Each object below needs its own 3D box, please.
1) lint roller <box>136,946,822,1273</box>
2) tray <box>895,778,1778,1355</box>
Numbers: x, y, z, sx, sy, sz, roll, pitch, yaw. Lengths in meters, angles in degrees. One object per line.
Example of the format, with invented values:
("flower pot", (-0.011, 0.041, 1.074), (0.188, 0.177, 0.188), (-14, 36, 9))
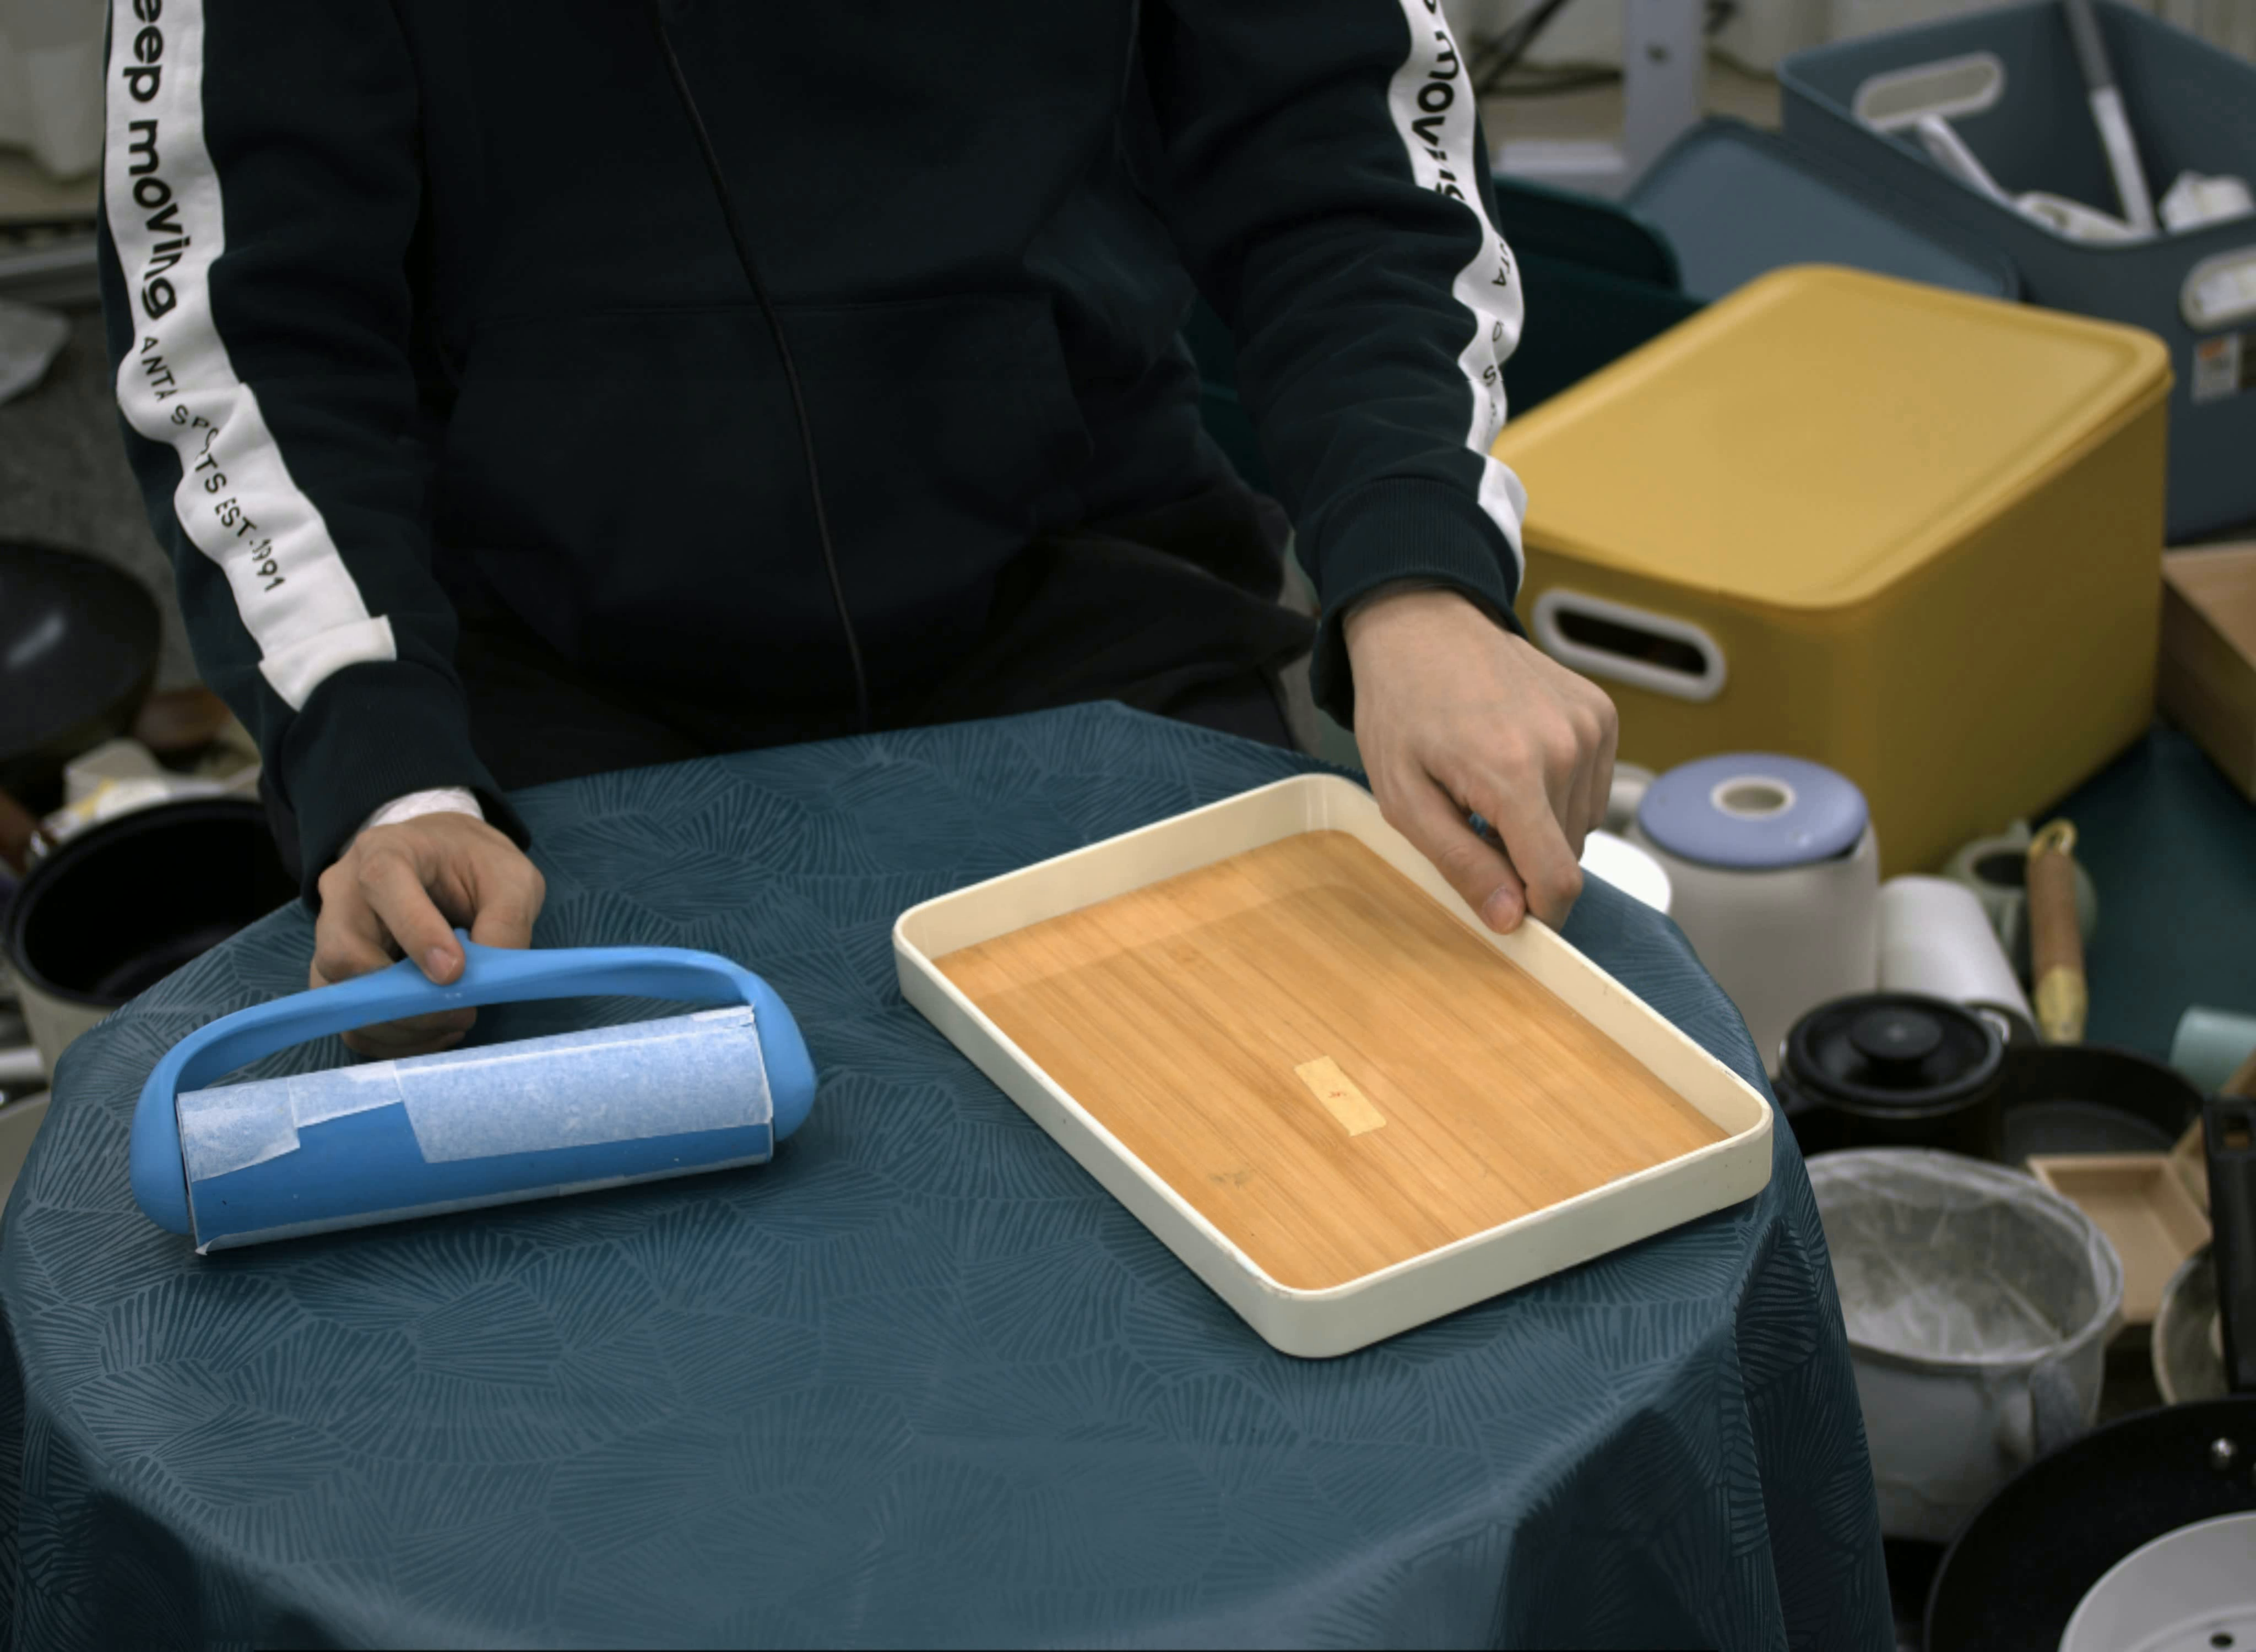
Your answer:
("lint roller", (-0.231, 0.076, 1.911), (0.229, 0.067, 0.182), (-12, 30, -13))
("tray", (0.065, 0.076, 1.907), (0.192, 0.027, 0.302), (-18, 31, -23))
